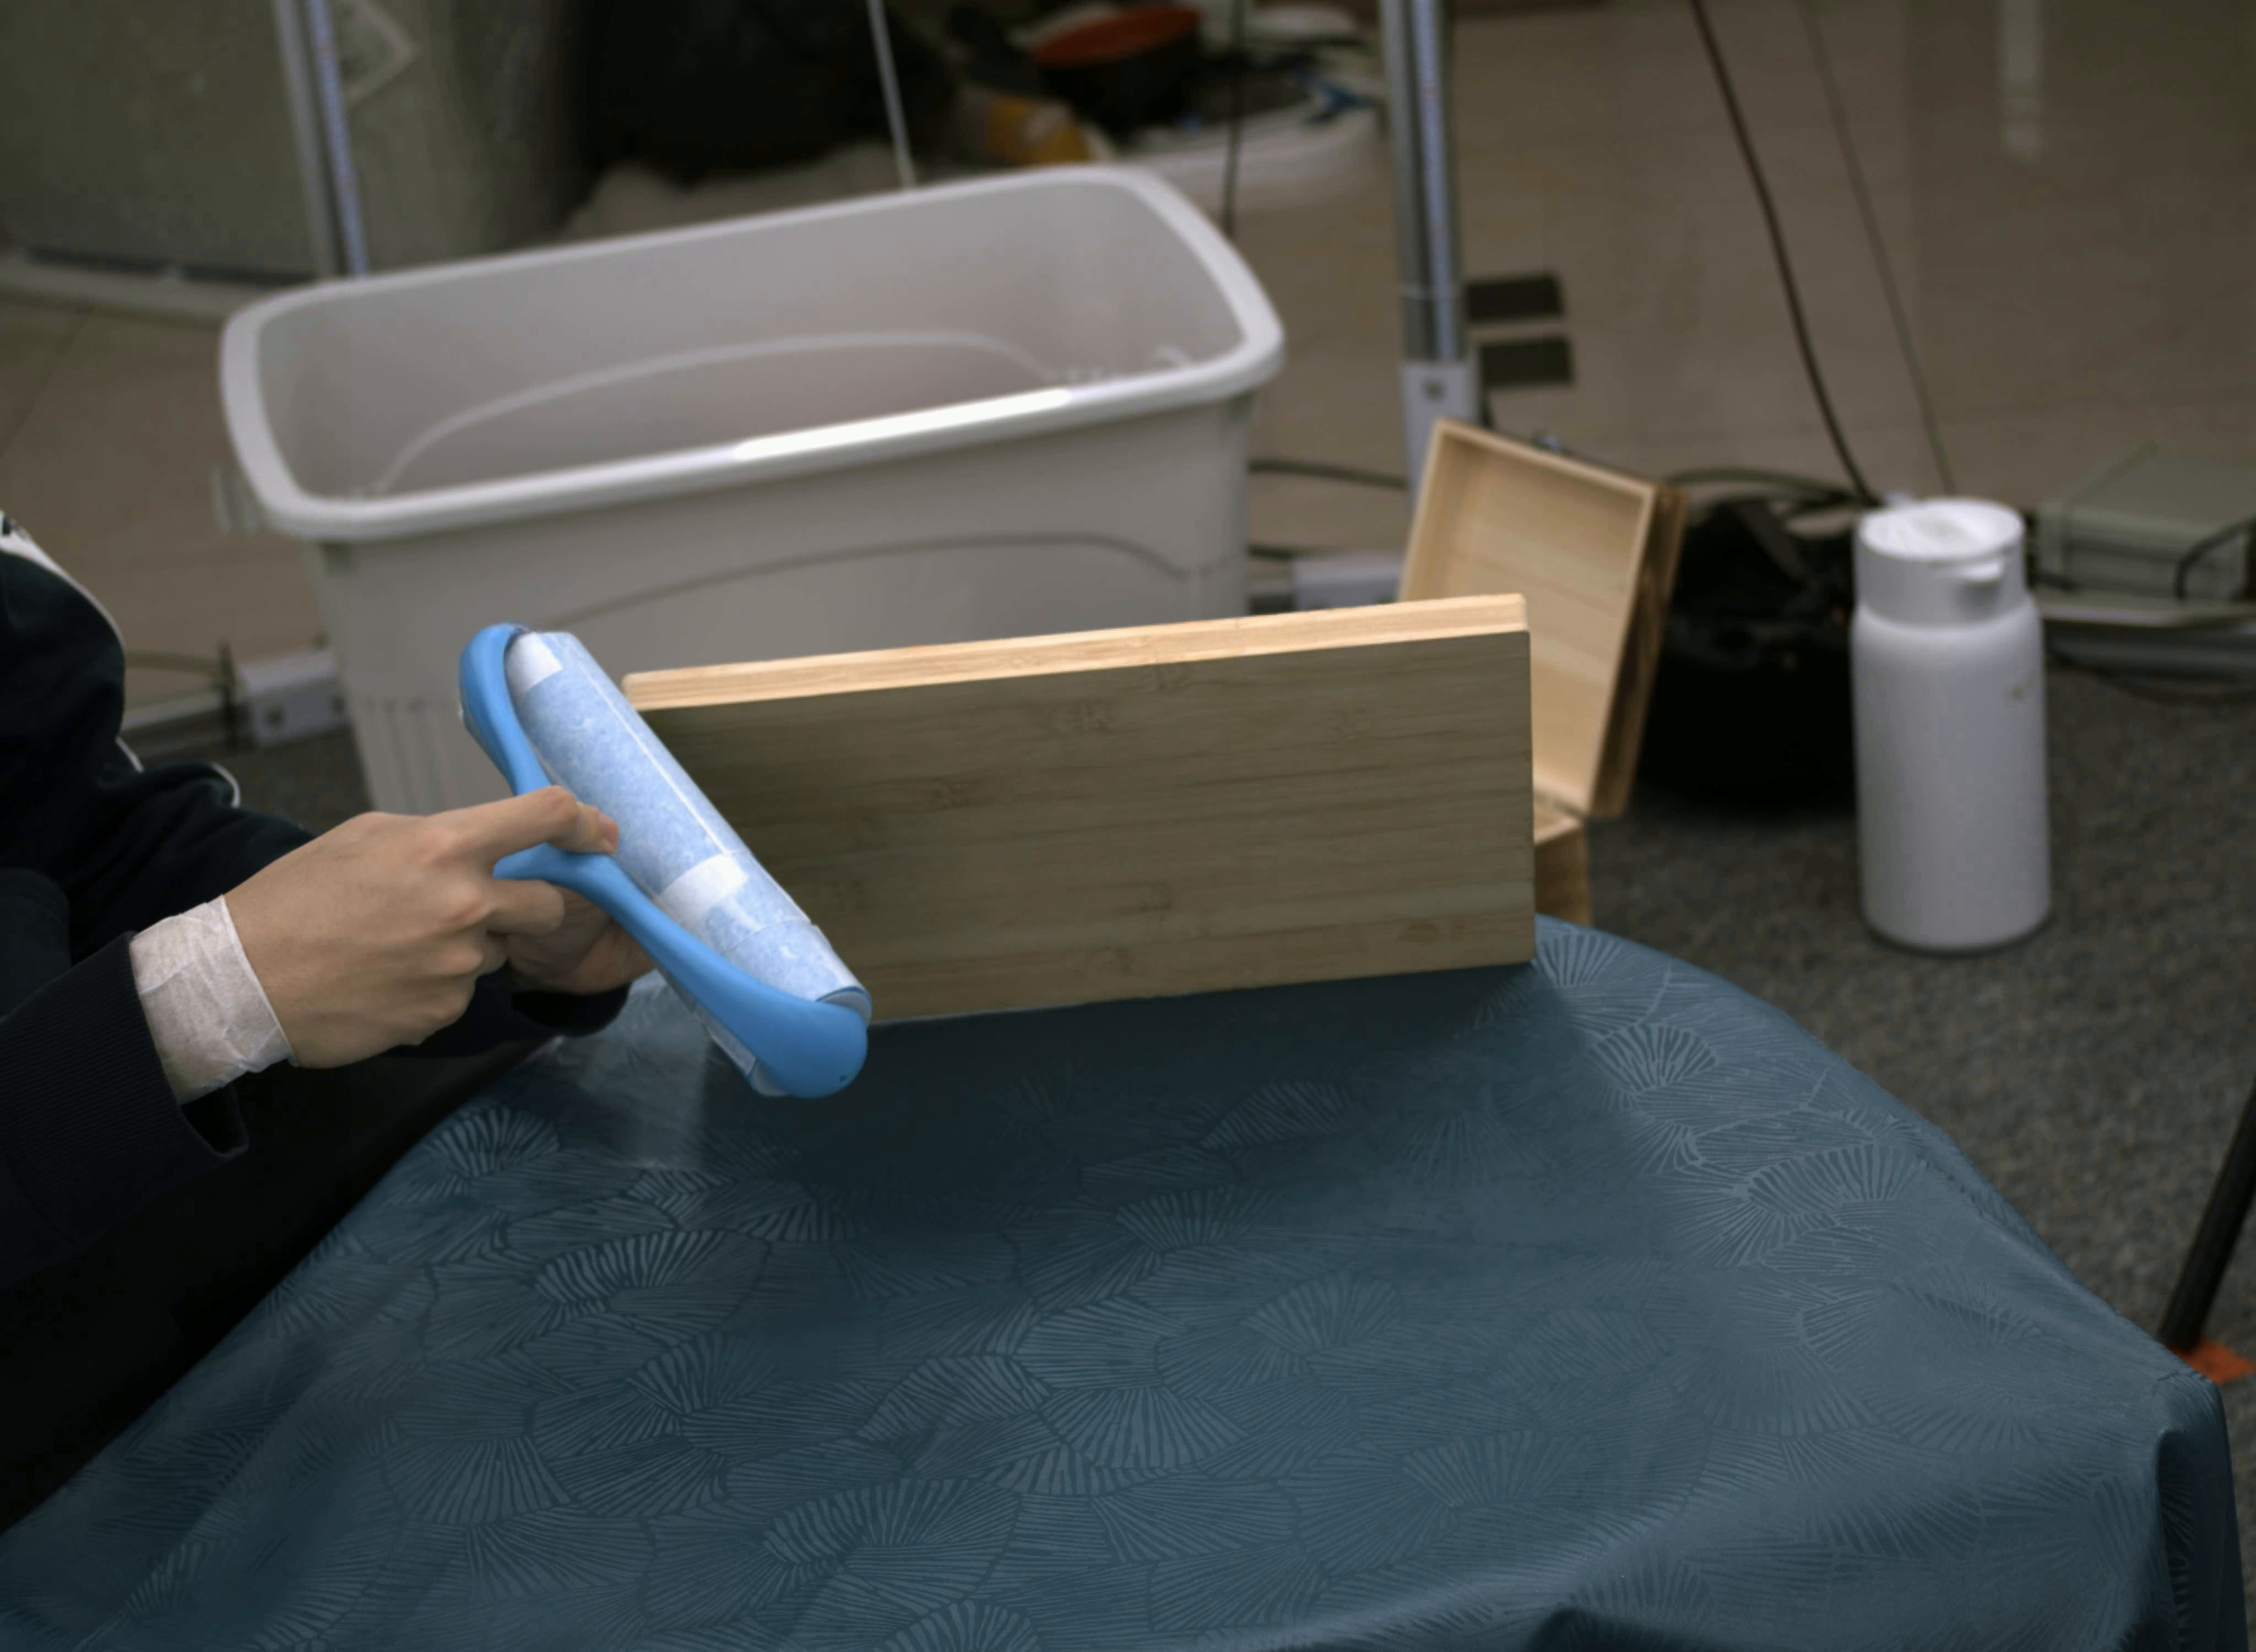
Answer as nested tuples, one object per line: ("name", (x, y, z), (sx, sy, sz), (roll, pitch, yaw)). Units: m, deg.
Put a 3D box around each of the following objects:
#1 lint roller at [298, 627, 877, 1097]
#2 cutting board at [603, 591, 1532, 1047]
("lint roller", (-0.210, 0.028, 2.010), (0.179, 0.069, 0.226), (-22, 60, -39))
("cutting board", (-0.017, 0.001, 2.191), (0.348, 0.255, 0.023), (-5, 58, 1))
